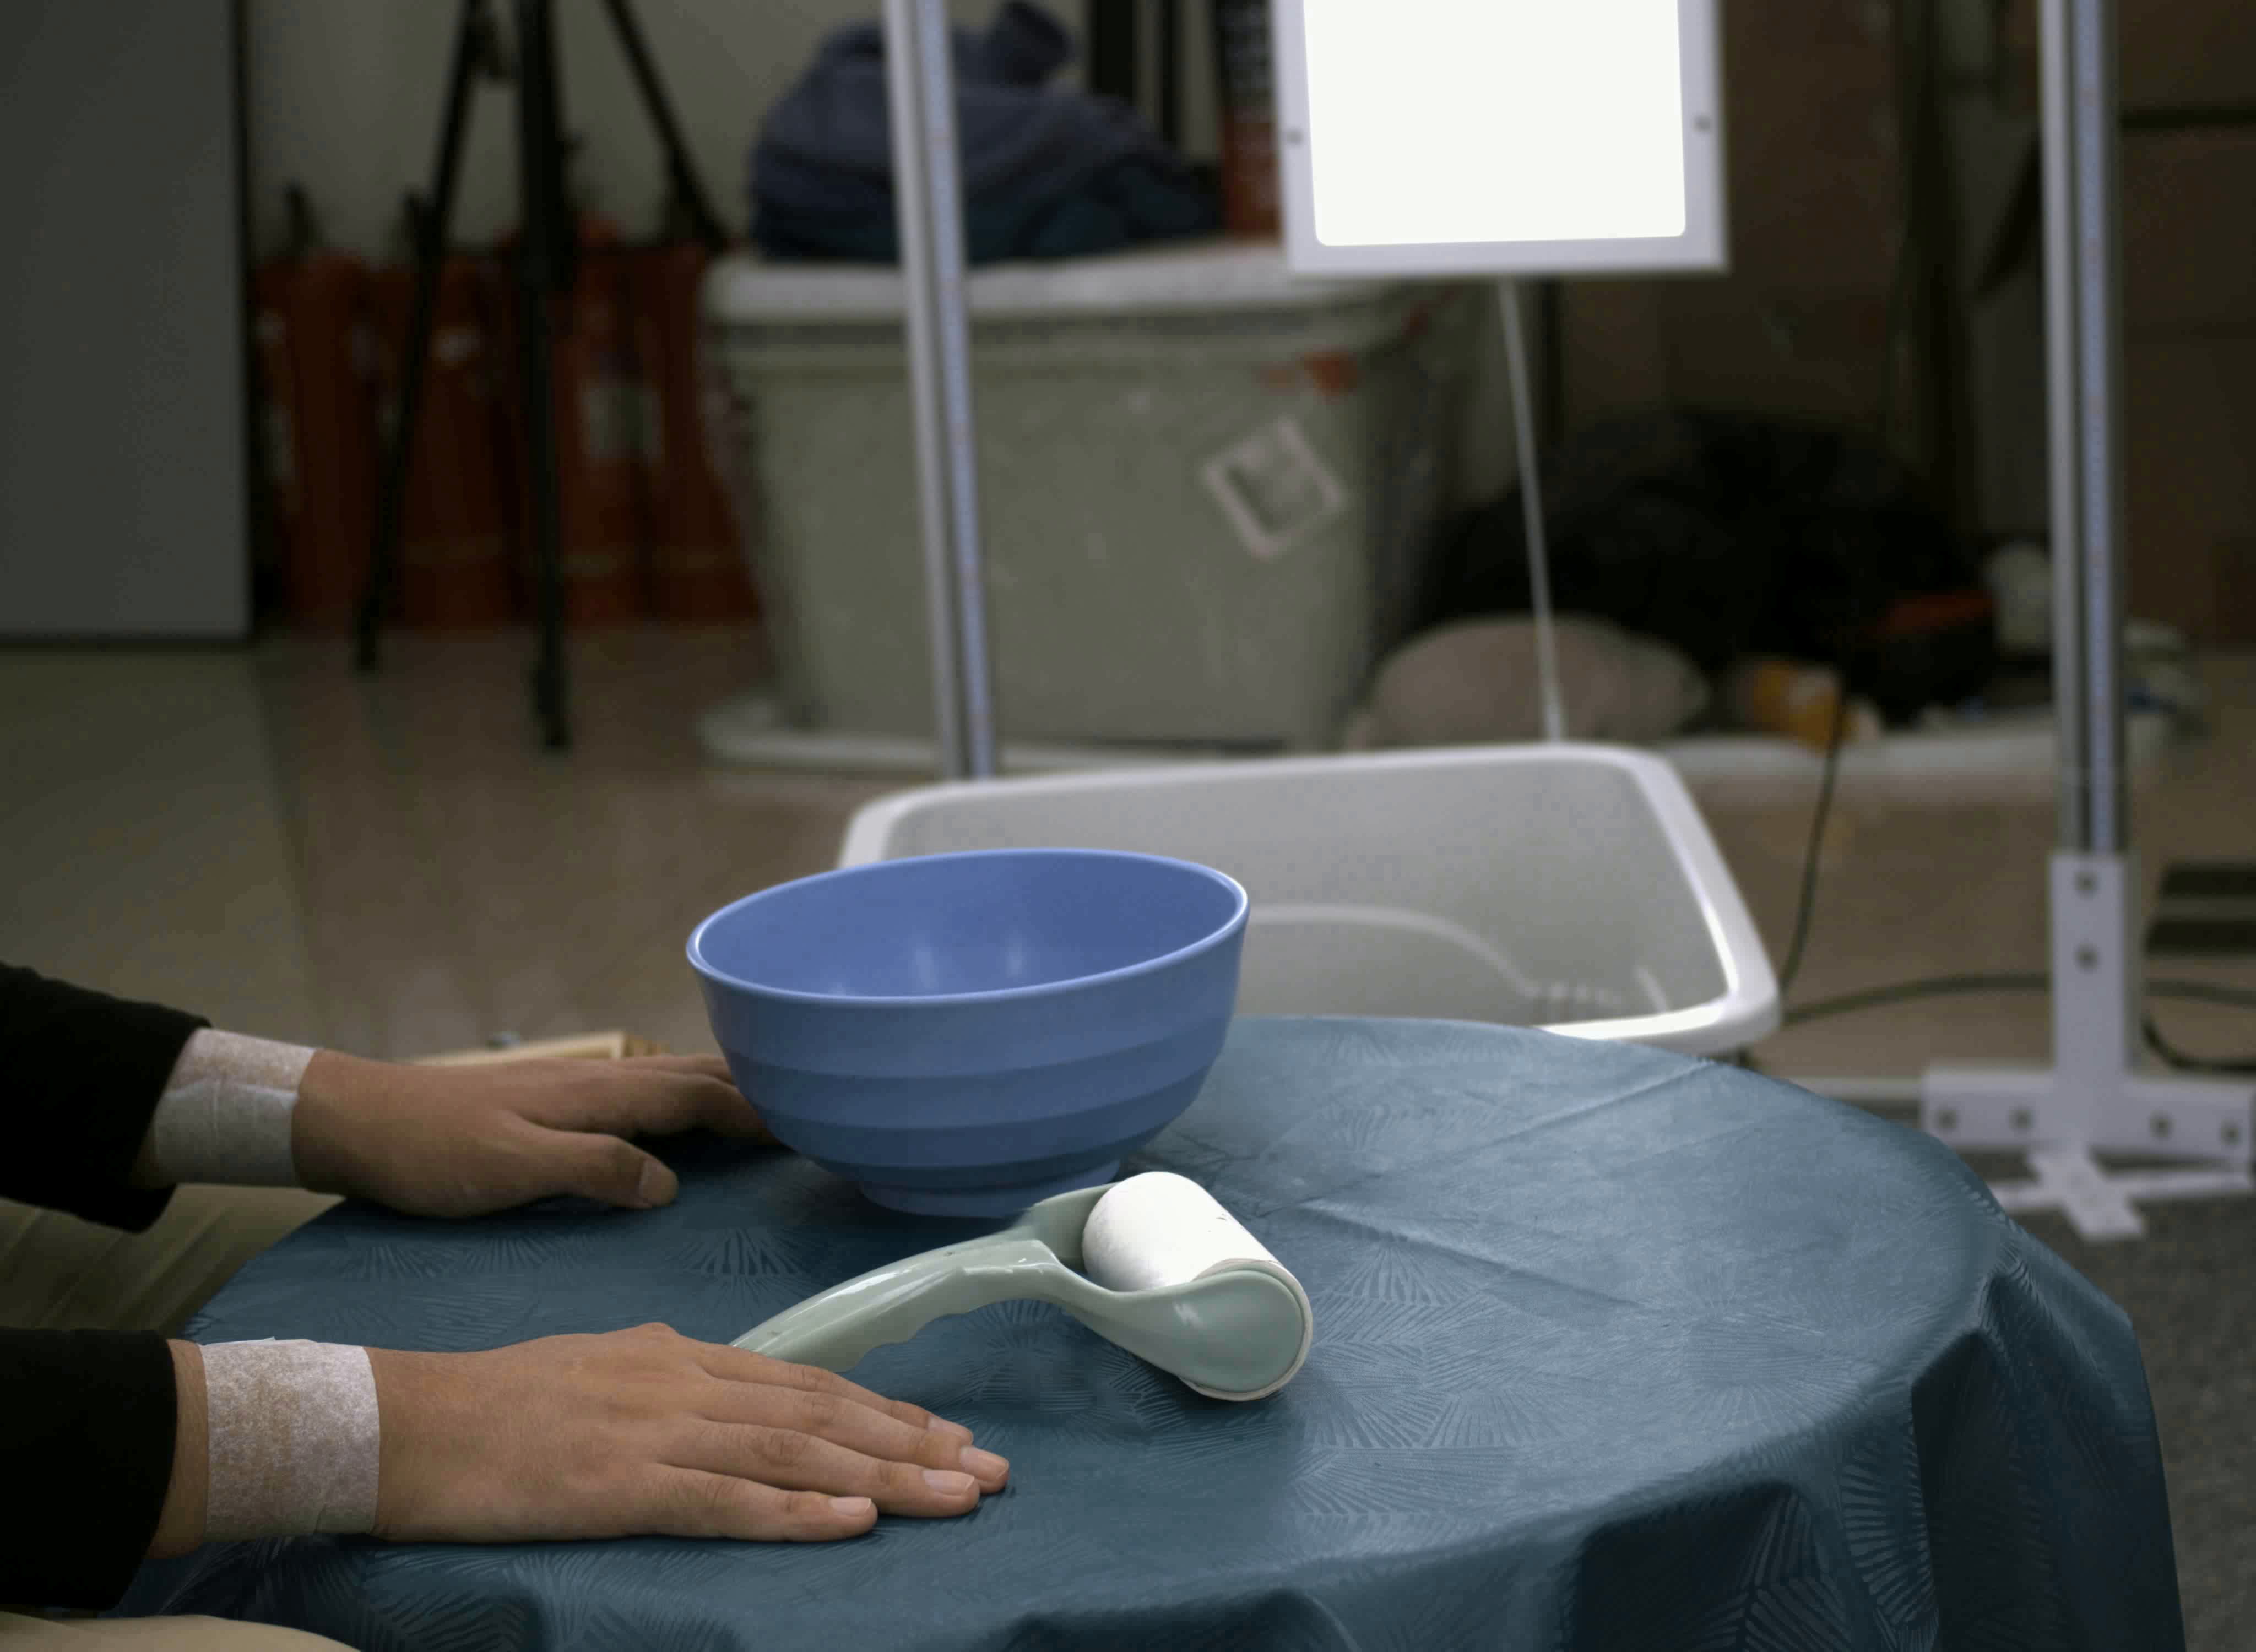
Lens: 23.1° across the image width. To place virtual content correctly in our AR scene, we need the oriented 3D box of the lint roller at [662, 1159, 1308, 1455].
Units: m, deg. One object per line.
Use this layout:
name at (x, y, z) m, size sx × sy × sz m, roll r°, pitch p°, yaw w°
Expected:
lint roller at (-0.051, 0.153, 1.717) m, size 0.195 × 0.048 × 0.117 m, roll -10°, pitch 16°, yaw -12°

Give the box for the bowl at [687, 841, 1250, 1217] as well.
bowl at (-0.052, 0.077, 1.918) m, size 0.196 × 0.096 × 0.196 m, roll -5°, pitch 15°, yaw 0°
